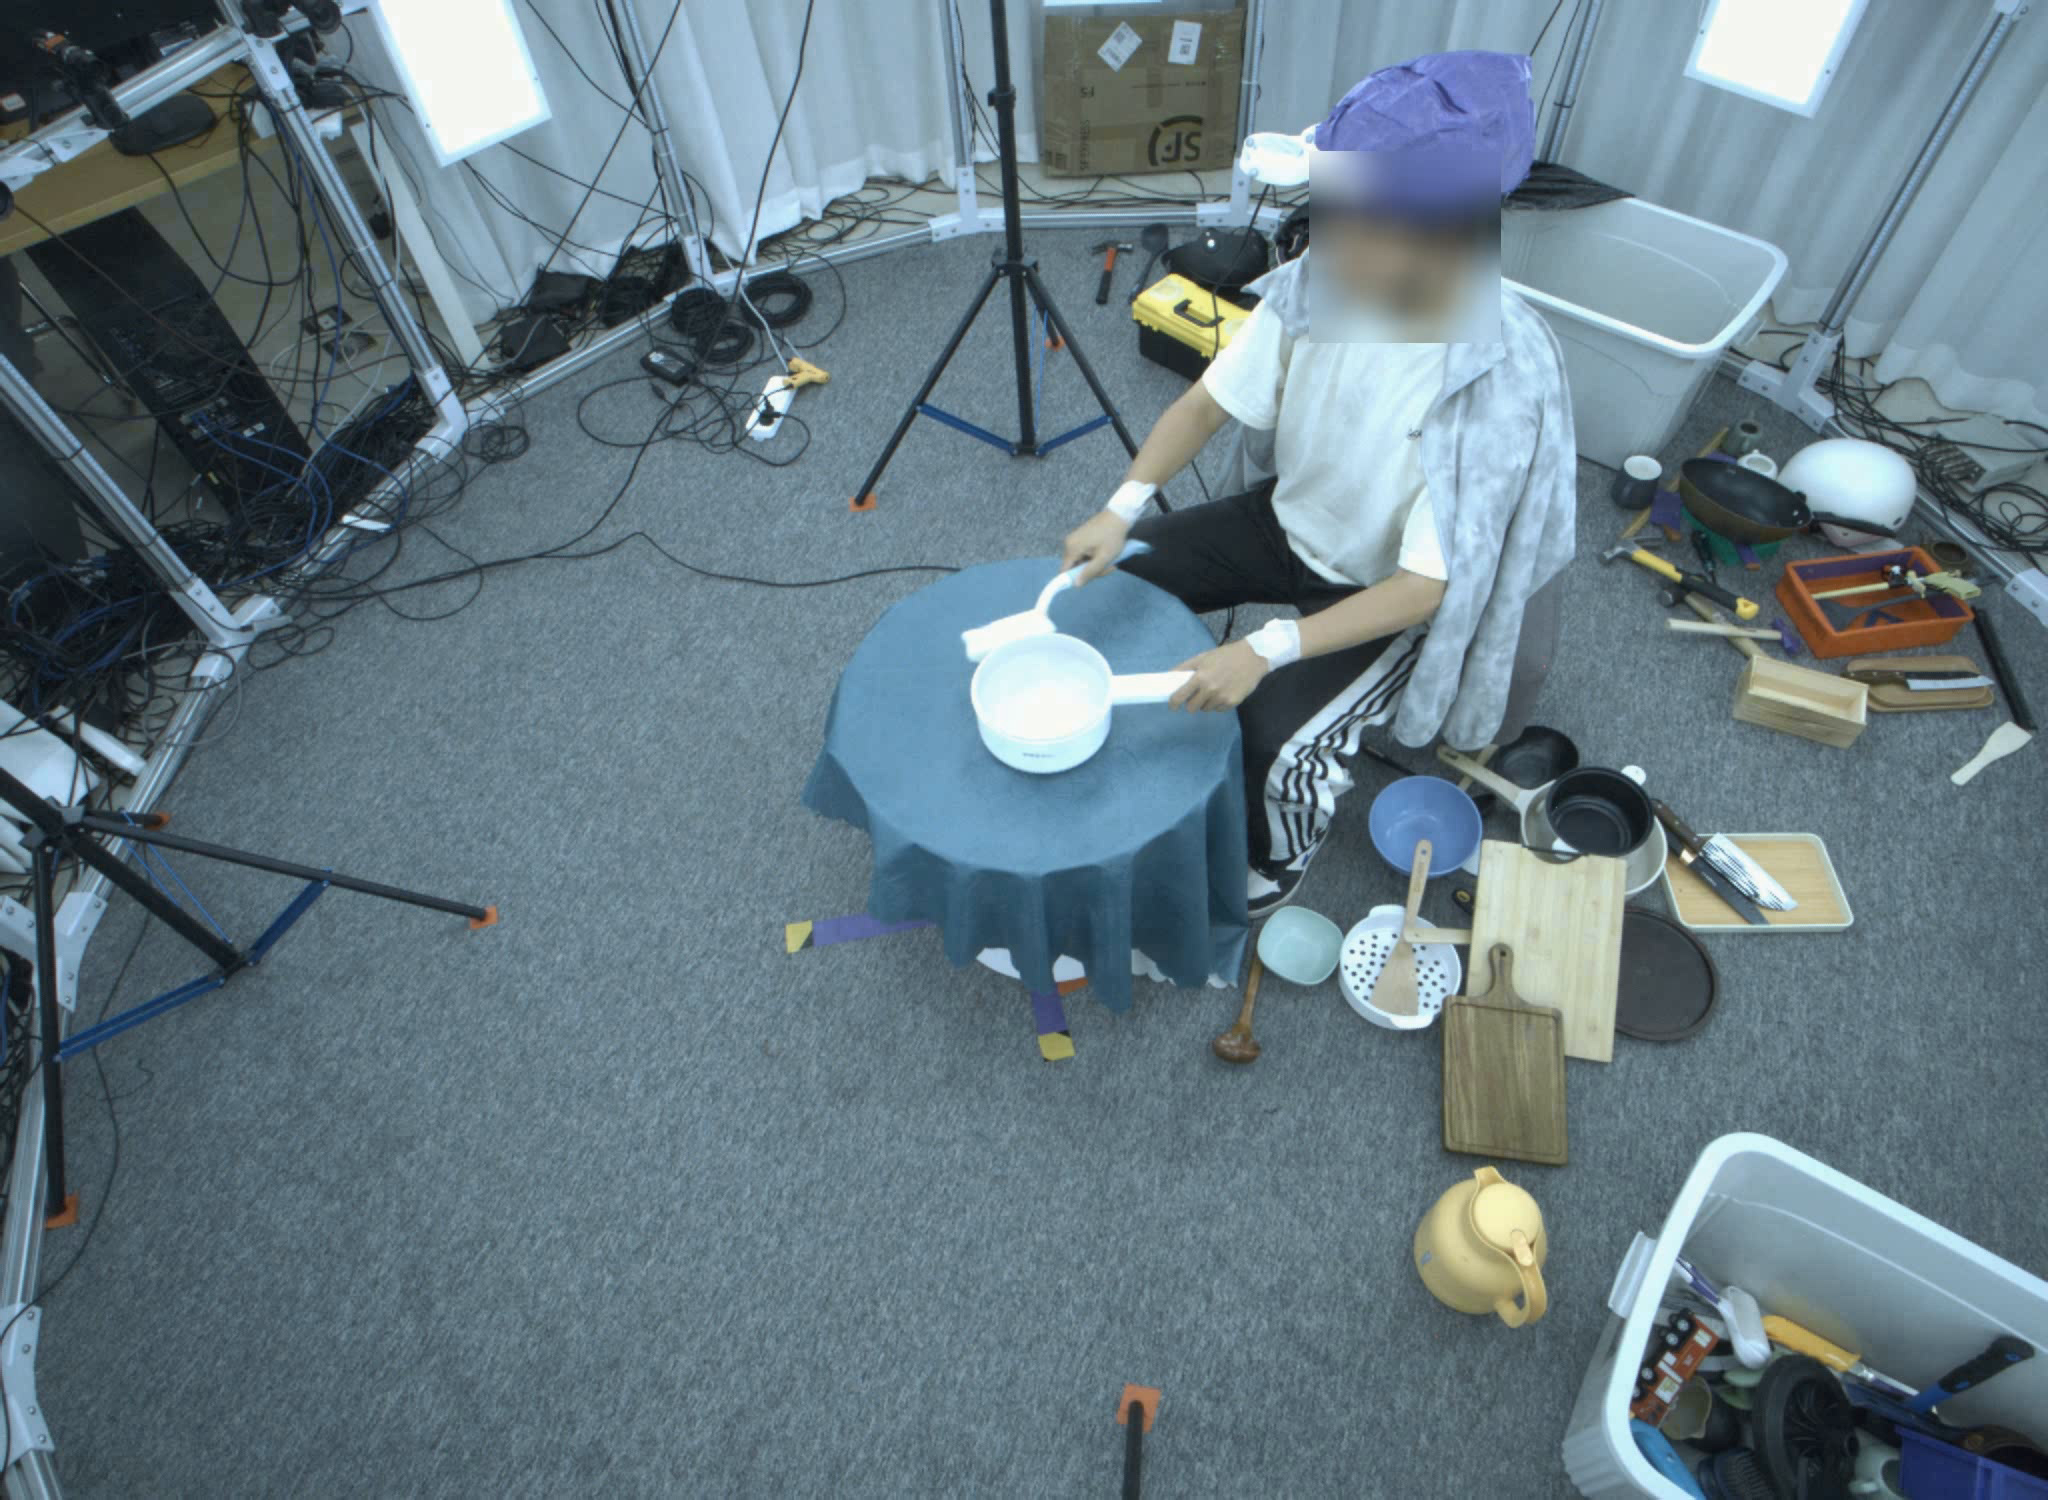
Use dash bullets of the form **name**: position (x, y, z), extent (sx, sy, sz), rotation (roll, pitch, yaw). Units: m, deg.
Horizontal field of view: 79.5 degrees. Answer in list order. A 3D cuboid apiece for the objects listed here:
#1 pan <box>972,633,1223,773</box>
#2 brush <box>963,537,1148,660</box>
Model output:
- **pan**: position (0.105, -0.067, 1.772), extent (0.355, 0.103, 0.199), rotation (-3, 54, 0)
- **brush**: position (0.062, -0.216, 1.828), extent (0.327, 0.085, 0.081), rotation (-29, 22, -13)
